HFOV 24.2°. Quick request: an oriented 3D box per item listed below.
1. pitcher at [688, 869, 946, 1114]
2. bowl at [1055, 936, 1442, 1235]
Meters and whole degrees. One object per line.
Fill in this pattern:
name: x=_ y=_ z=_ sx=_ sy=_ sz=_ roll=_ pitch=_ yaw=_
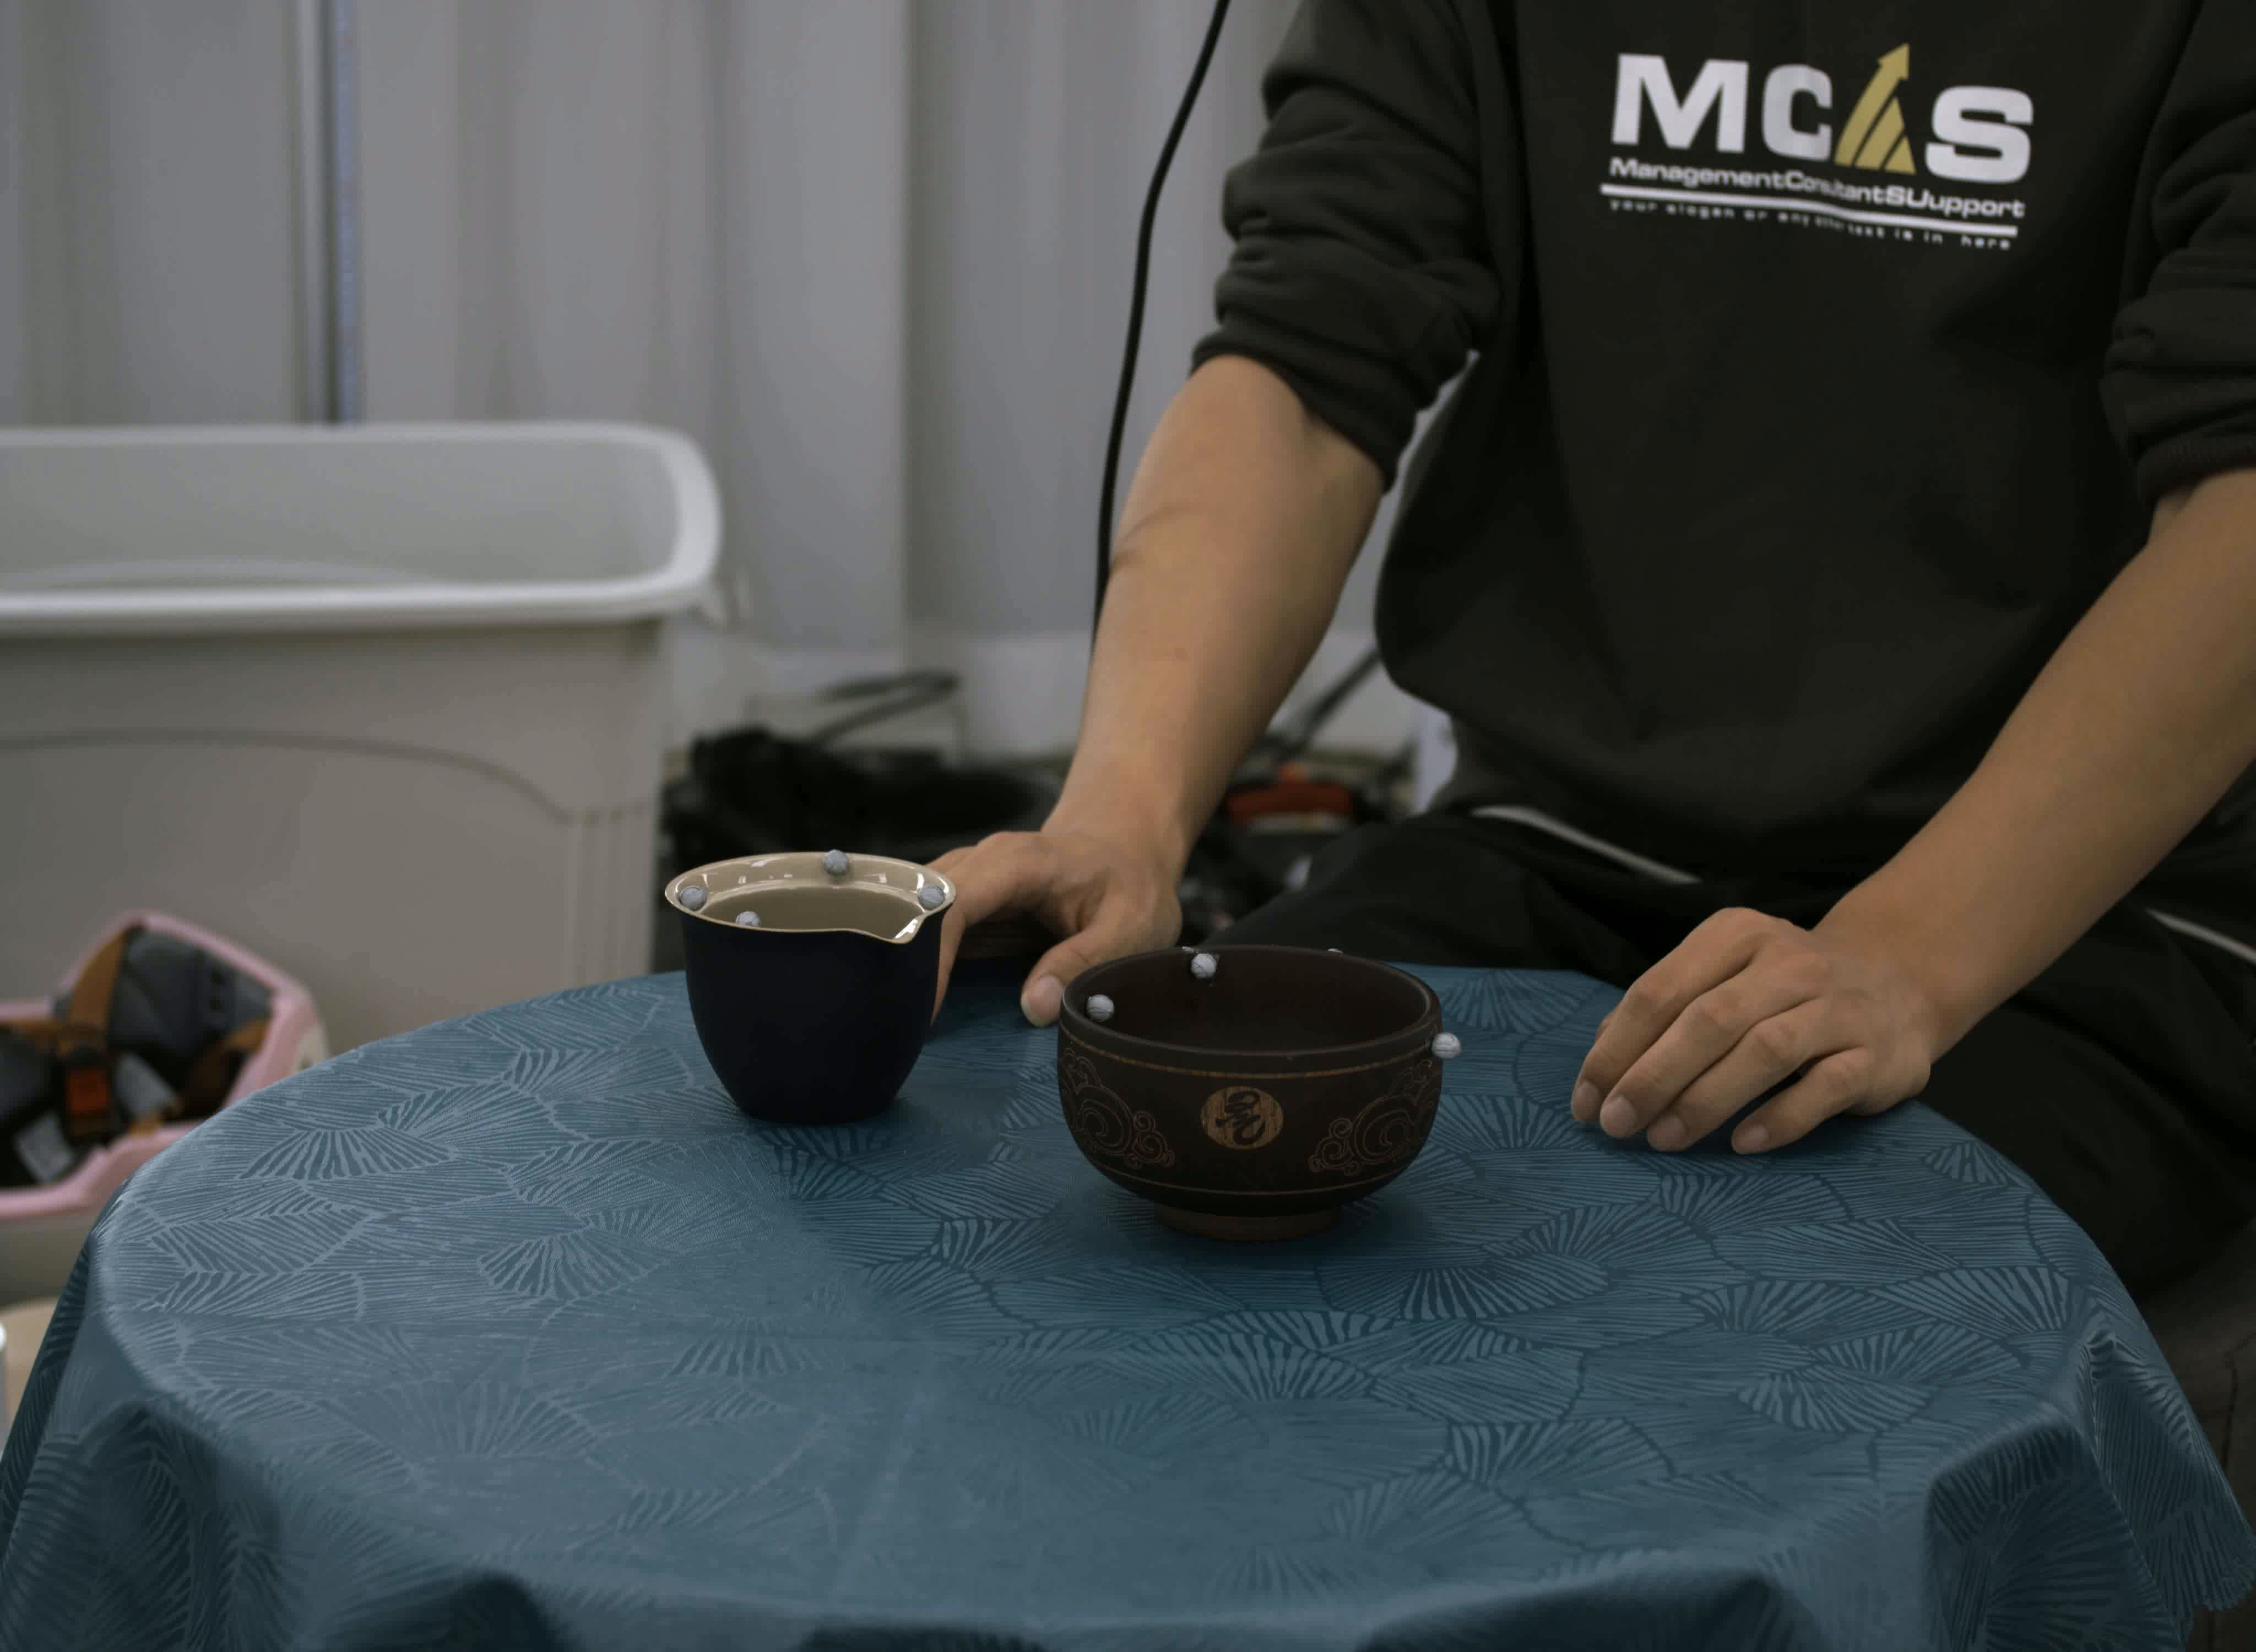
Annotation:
pitcher: x=-0.098 y=0.053 z=1.698 sx=0.084 sy=0.072 sz=0.095 roll=-6 pitch=16 yaw=-28
bowl: x=0.037 y=0.083 z=1.605 sx=0.117 sy=0.070 sz=0.117 roll=-1 pitch=17 yaw=1
